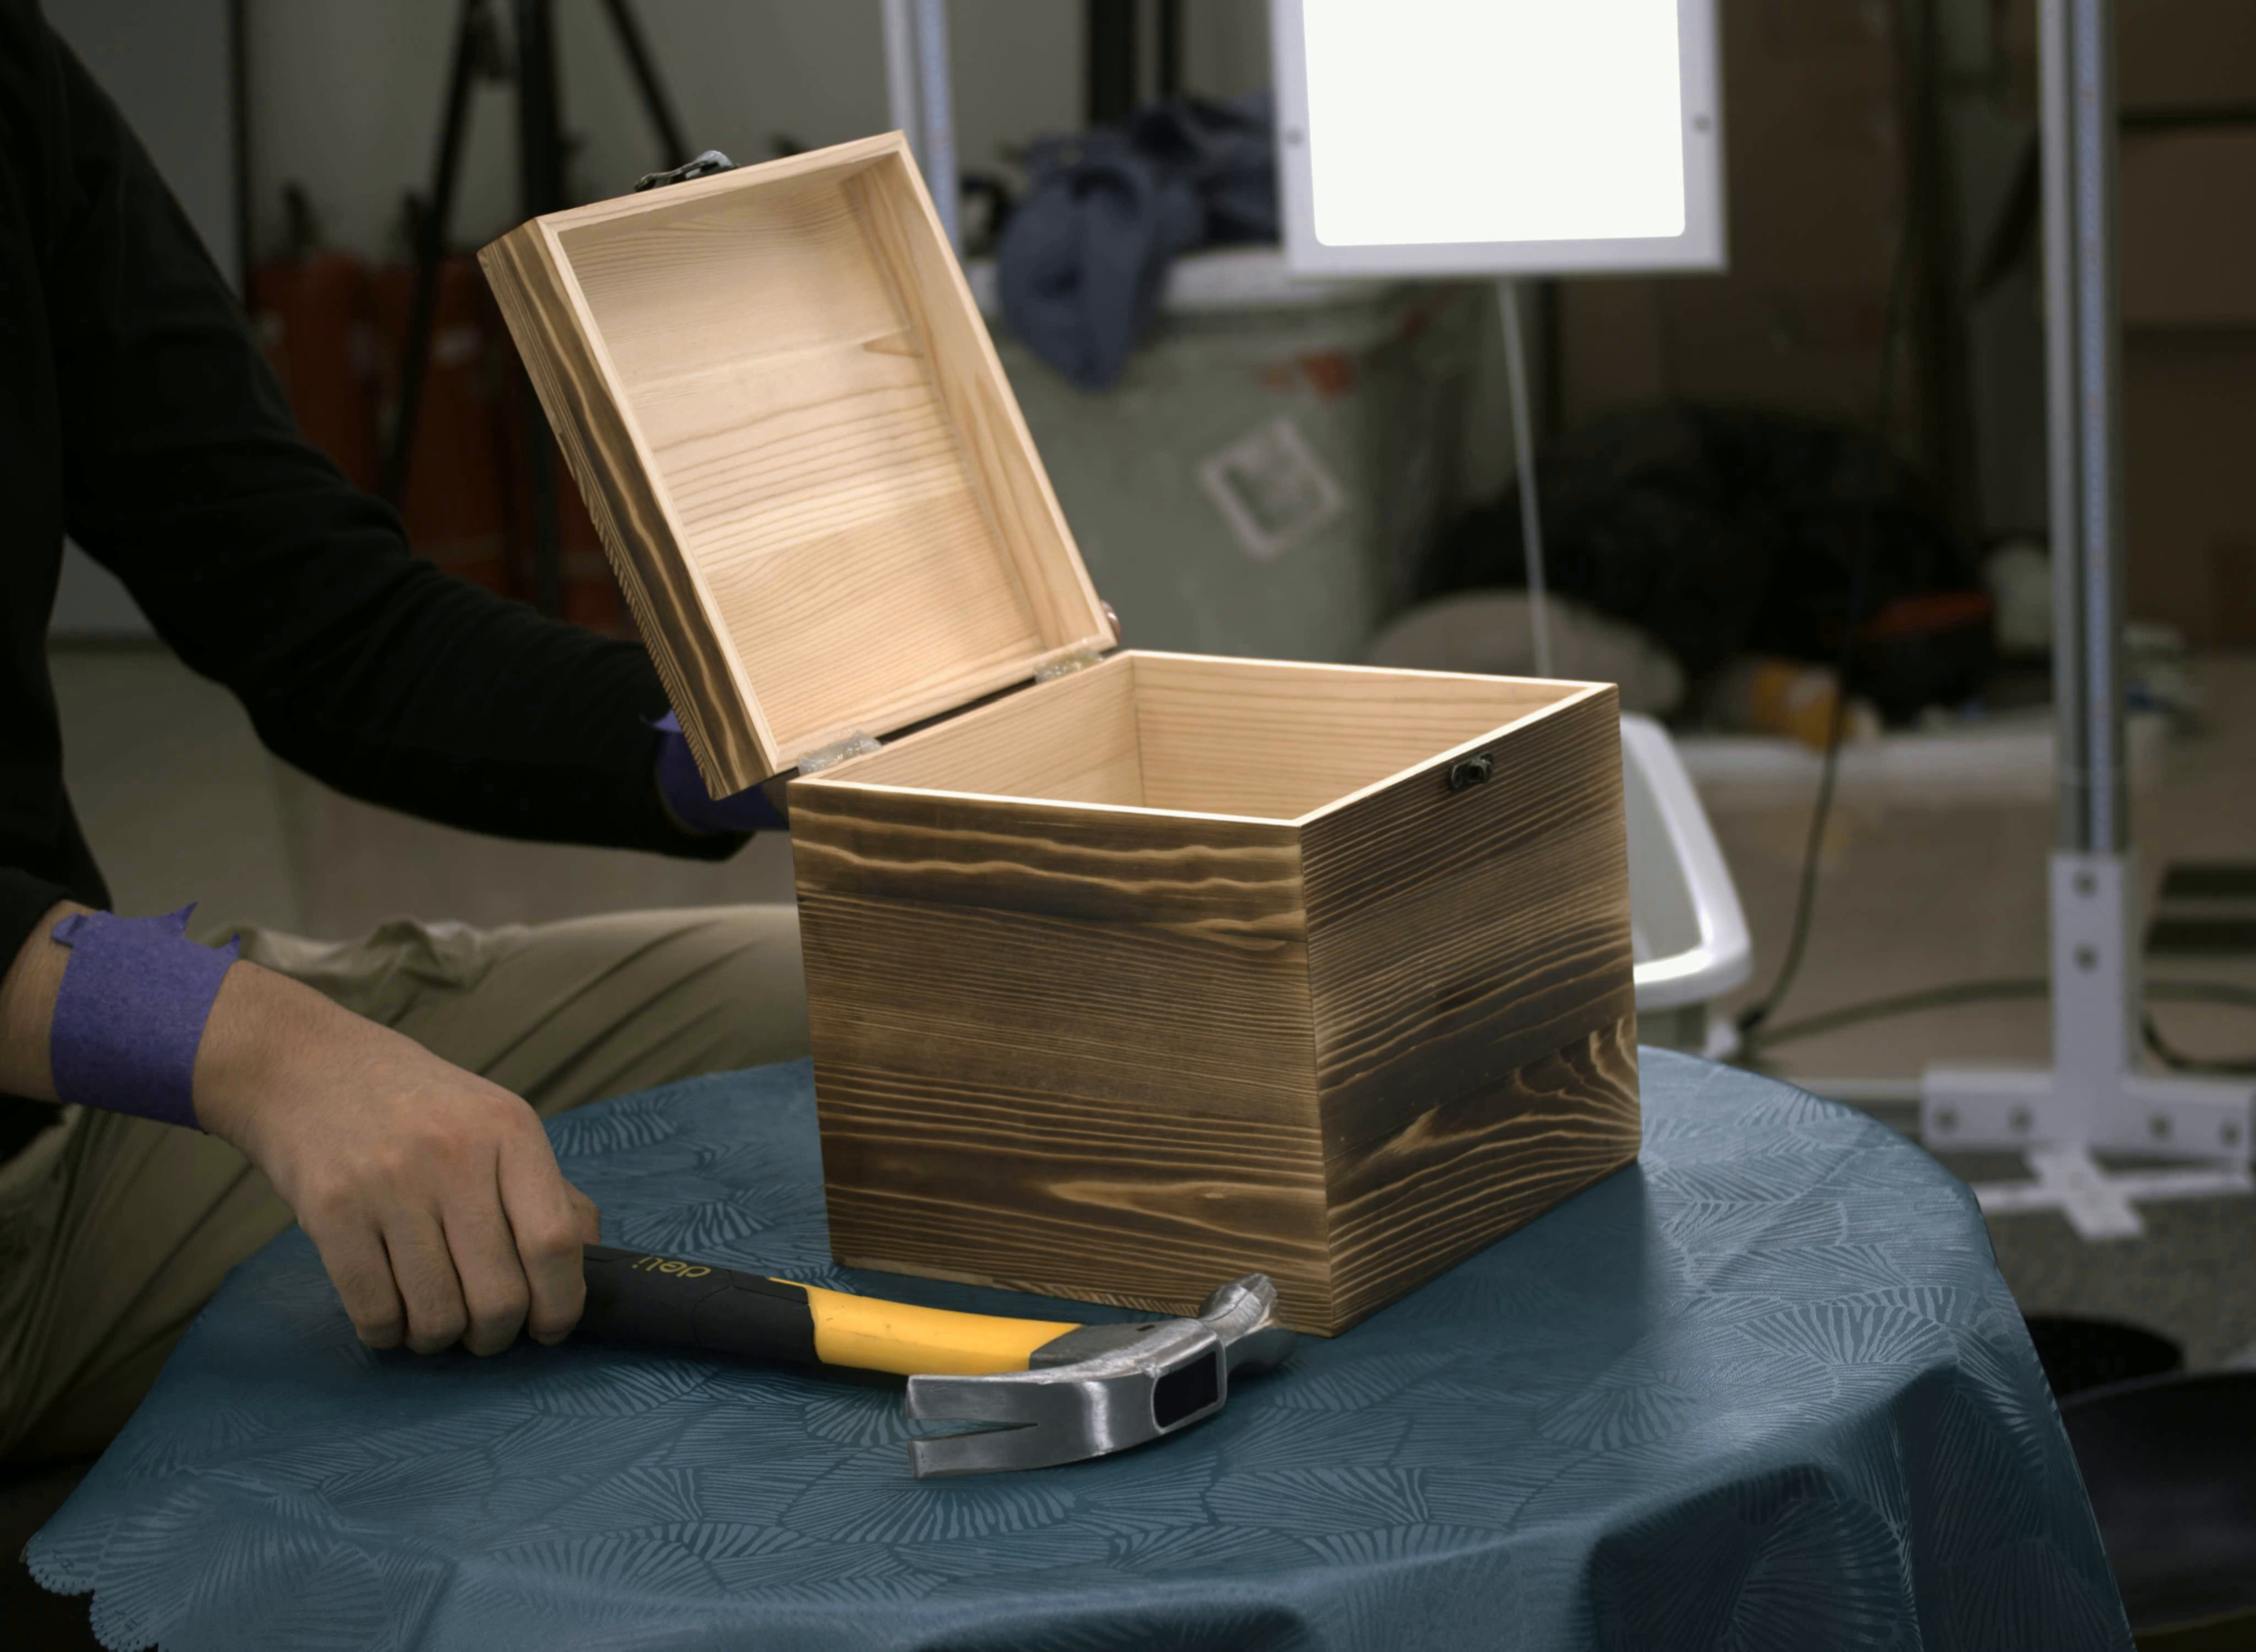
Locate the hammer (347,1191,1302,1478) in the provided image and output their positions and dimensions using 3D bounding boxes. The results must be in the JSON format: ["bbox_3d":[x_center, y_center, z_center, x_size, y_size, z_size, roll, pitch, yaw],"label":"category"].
[{"bbox_3d":[-0.118,0.152,1.759,0.345,0.032,0.128,7,19,37],"label":"hammer"}]

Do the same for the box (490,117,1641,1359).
[{"bbox_3d":[-0.018,-0.045,1.853,0.329,0.377,0.203,5,17,36],"label":"box"}]
